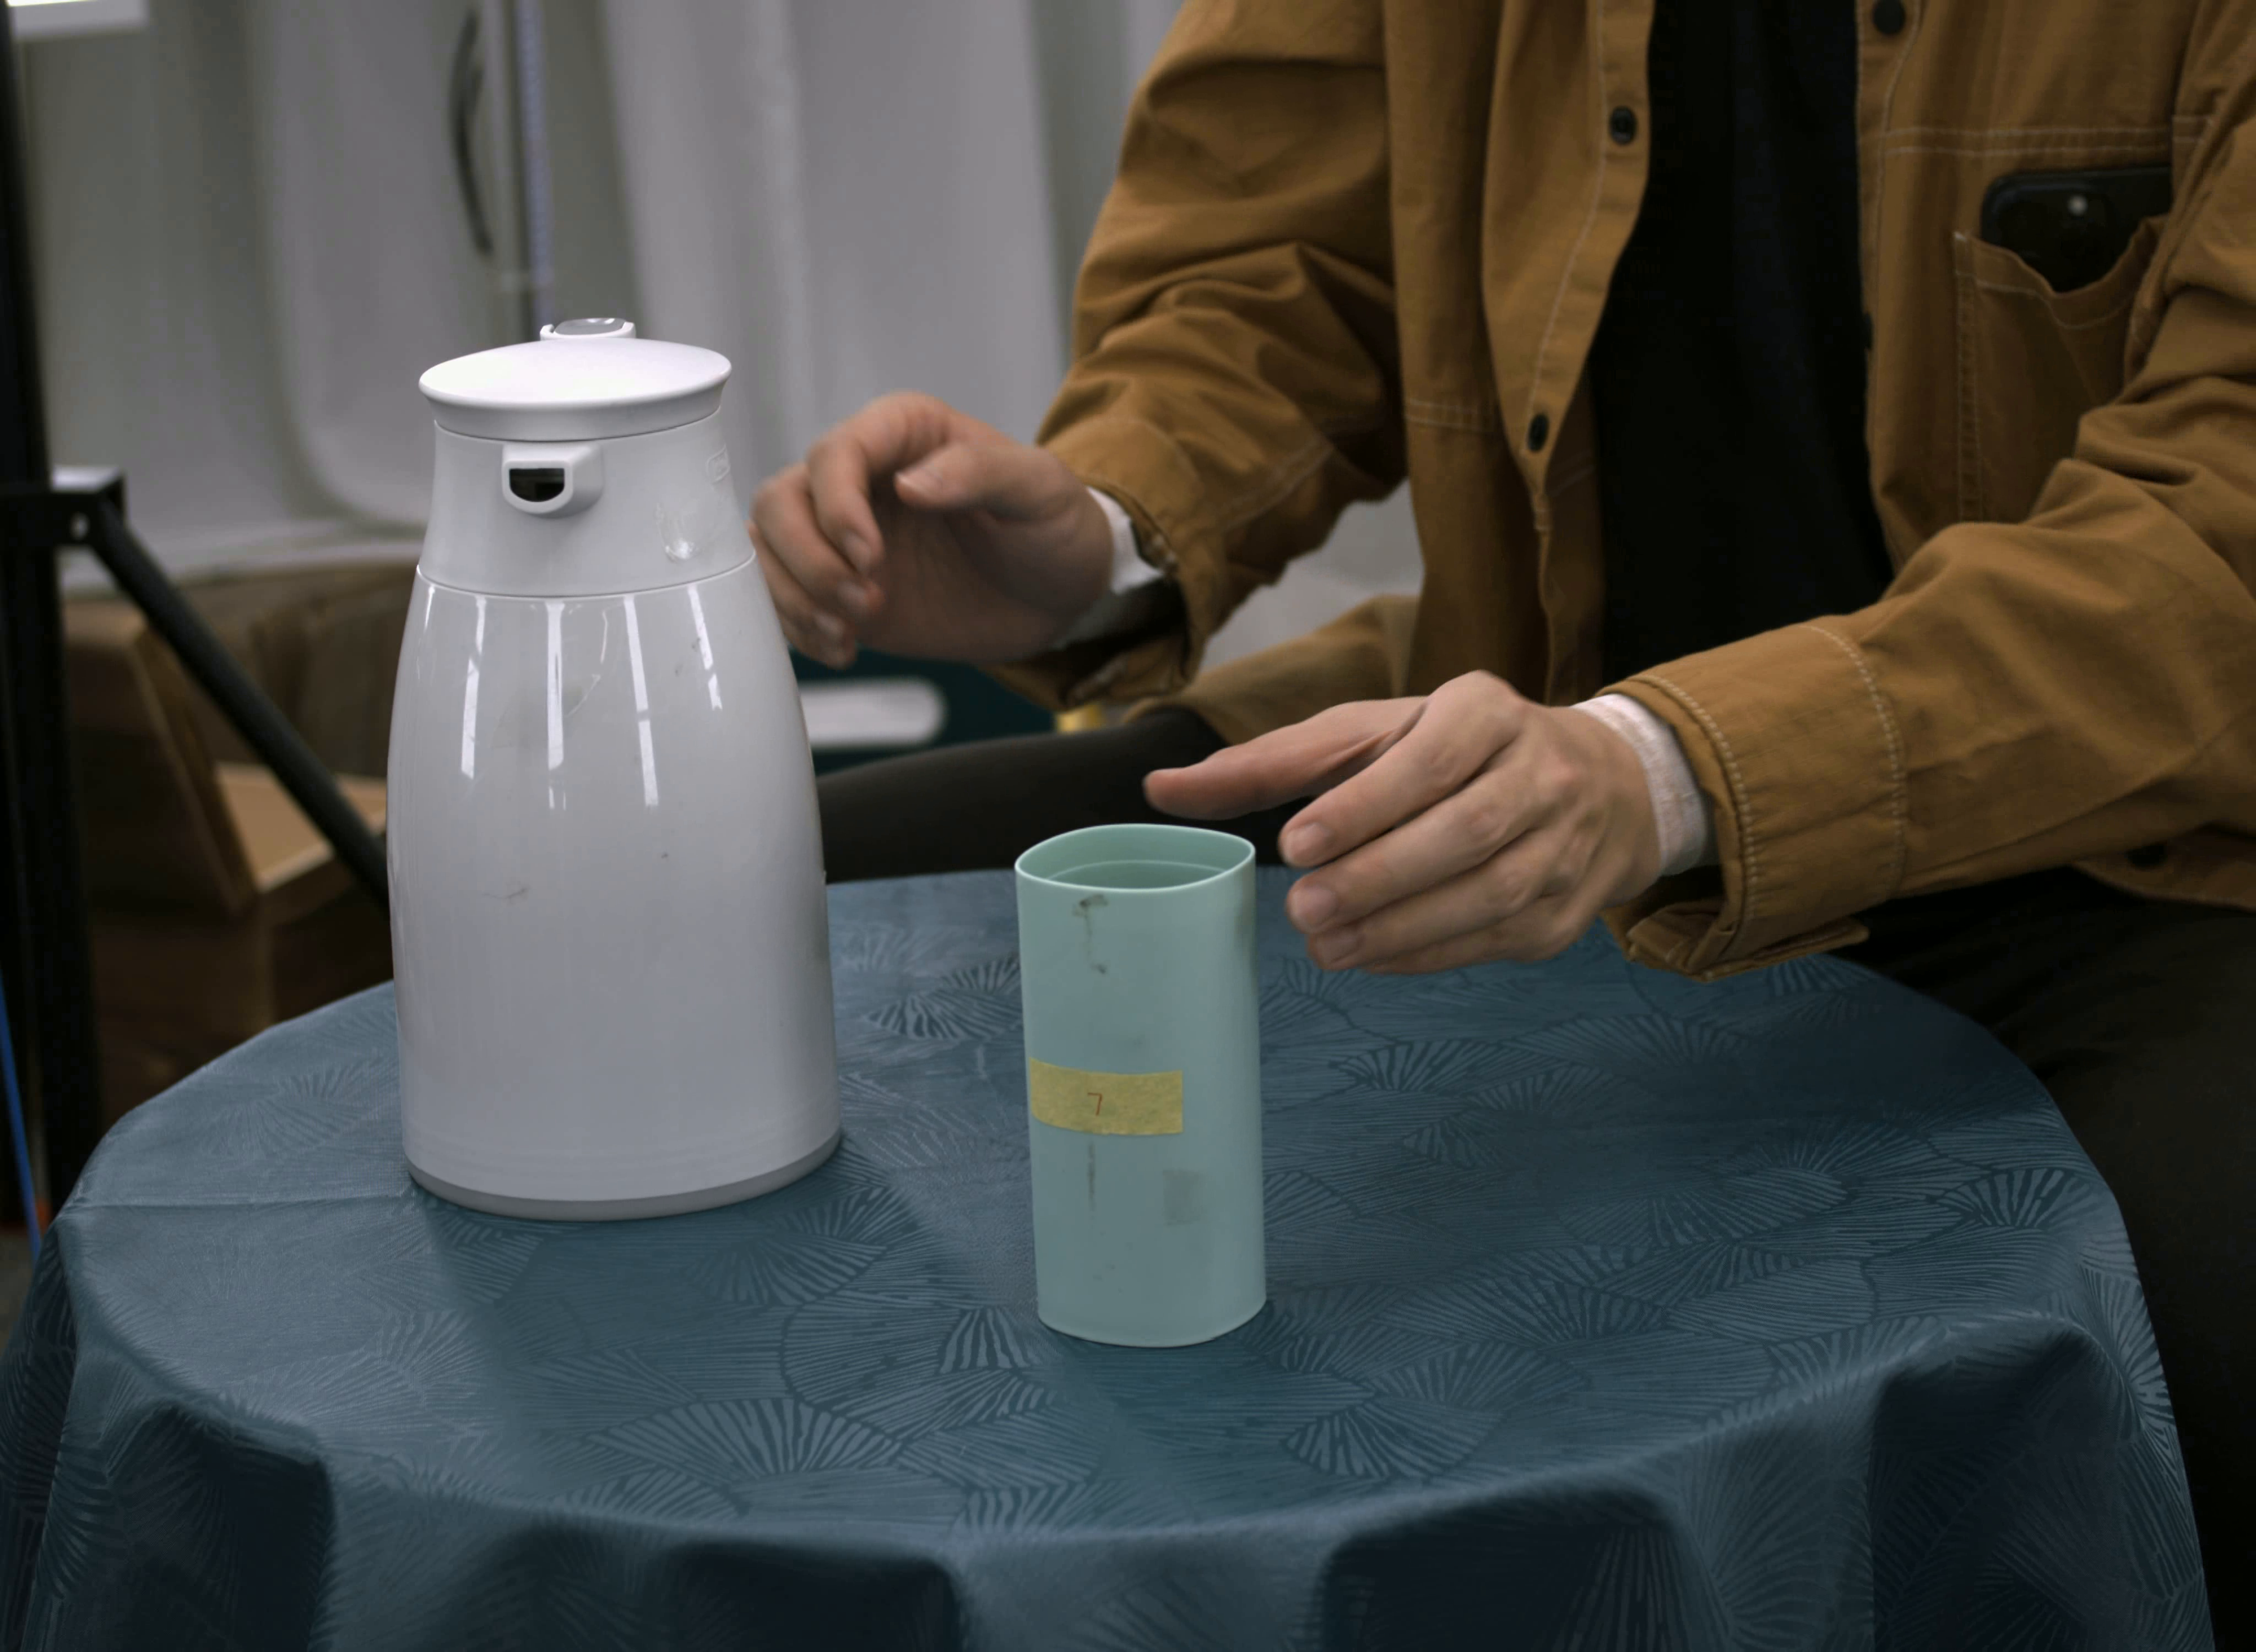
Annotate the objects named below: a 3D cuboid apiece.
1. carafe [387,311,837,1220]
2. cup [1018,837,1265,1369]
[{"bbox_3d":[-0.156,-0.026,1.603,0.132,0.248,0.167,-1,15,6],"label":"carafe"},{"bbox_3d":[0.006,0.074,1.447,0.066,0.132,0.067,-2,15,-1],"label":"cup"}]
